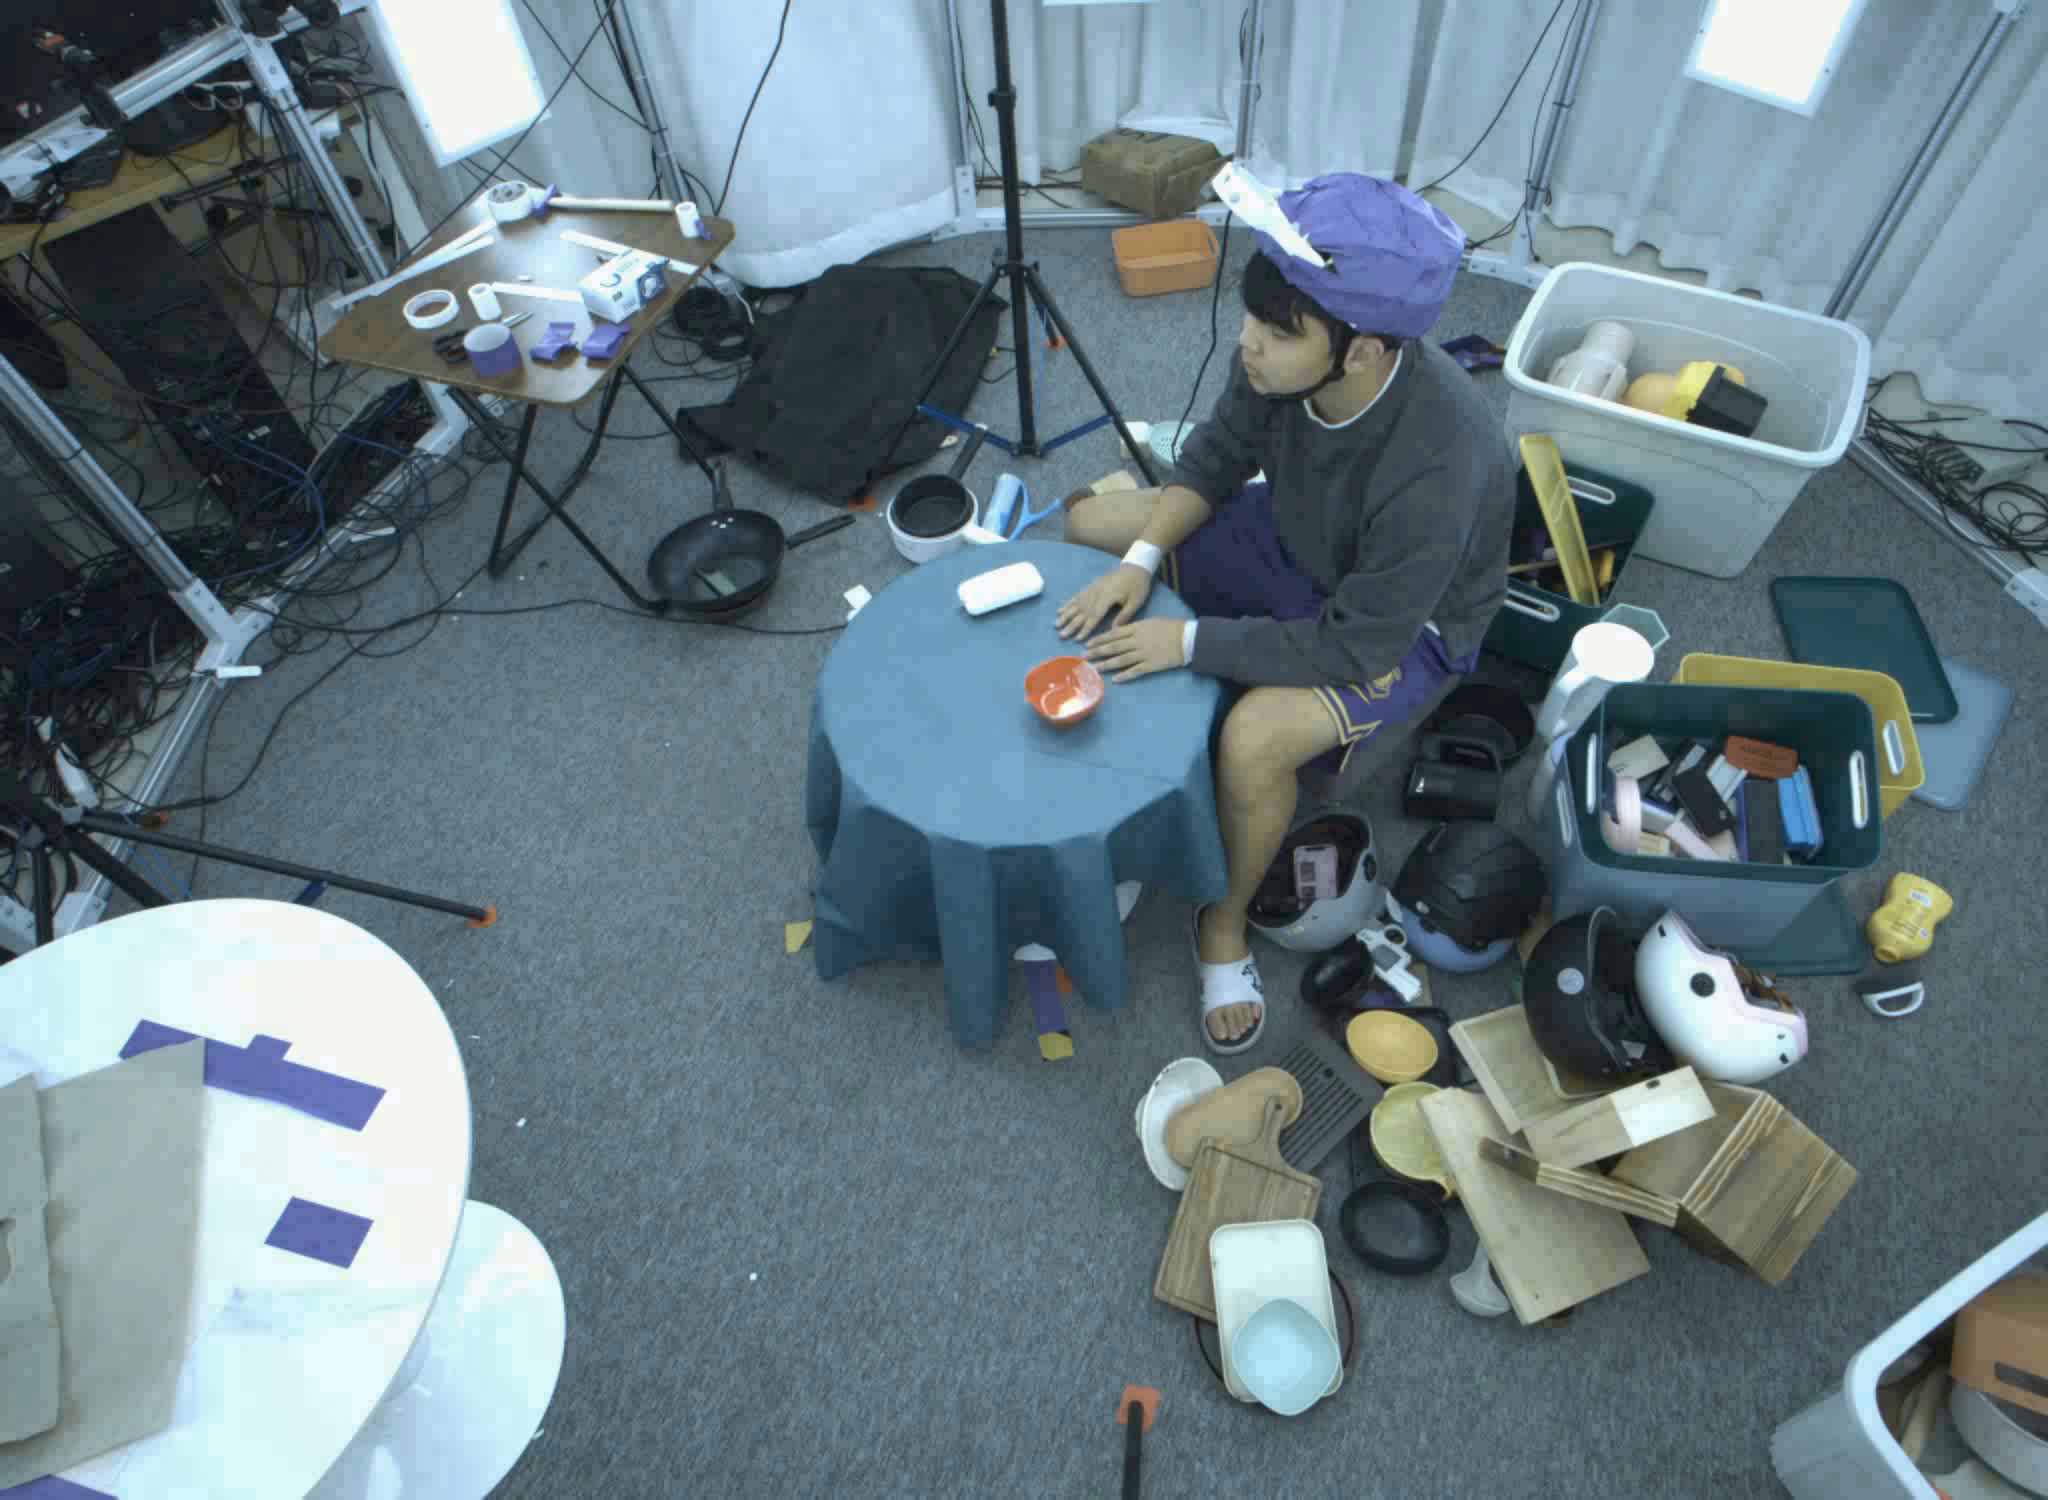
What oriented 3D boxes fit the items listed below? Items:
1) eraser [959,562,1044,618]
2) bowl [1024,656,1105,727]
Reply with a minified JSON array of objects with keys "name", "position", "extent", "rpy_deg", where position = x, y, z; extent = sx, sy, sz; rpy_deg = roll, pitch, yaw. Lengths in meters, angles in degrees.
[{"name":"eraser","position":[-0.036,-0.255,1.952],"extent":[0.132,0.035,0.062],"rpy_deg":[-20,57,-10]},{"name":"bowl","position":[0.059,-0.079,1.813],"extent":[0.119,0.052,0.117],"rpy_deg":[-1,53,2]}]
